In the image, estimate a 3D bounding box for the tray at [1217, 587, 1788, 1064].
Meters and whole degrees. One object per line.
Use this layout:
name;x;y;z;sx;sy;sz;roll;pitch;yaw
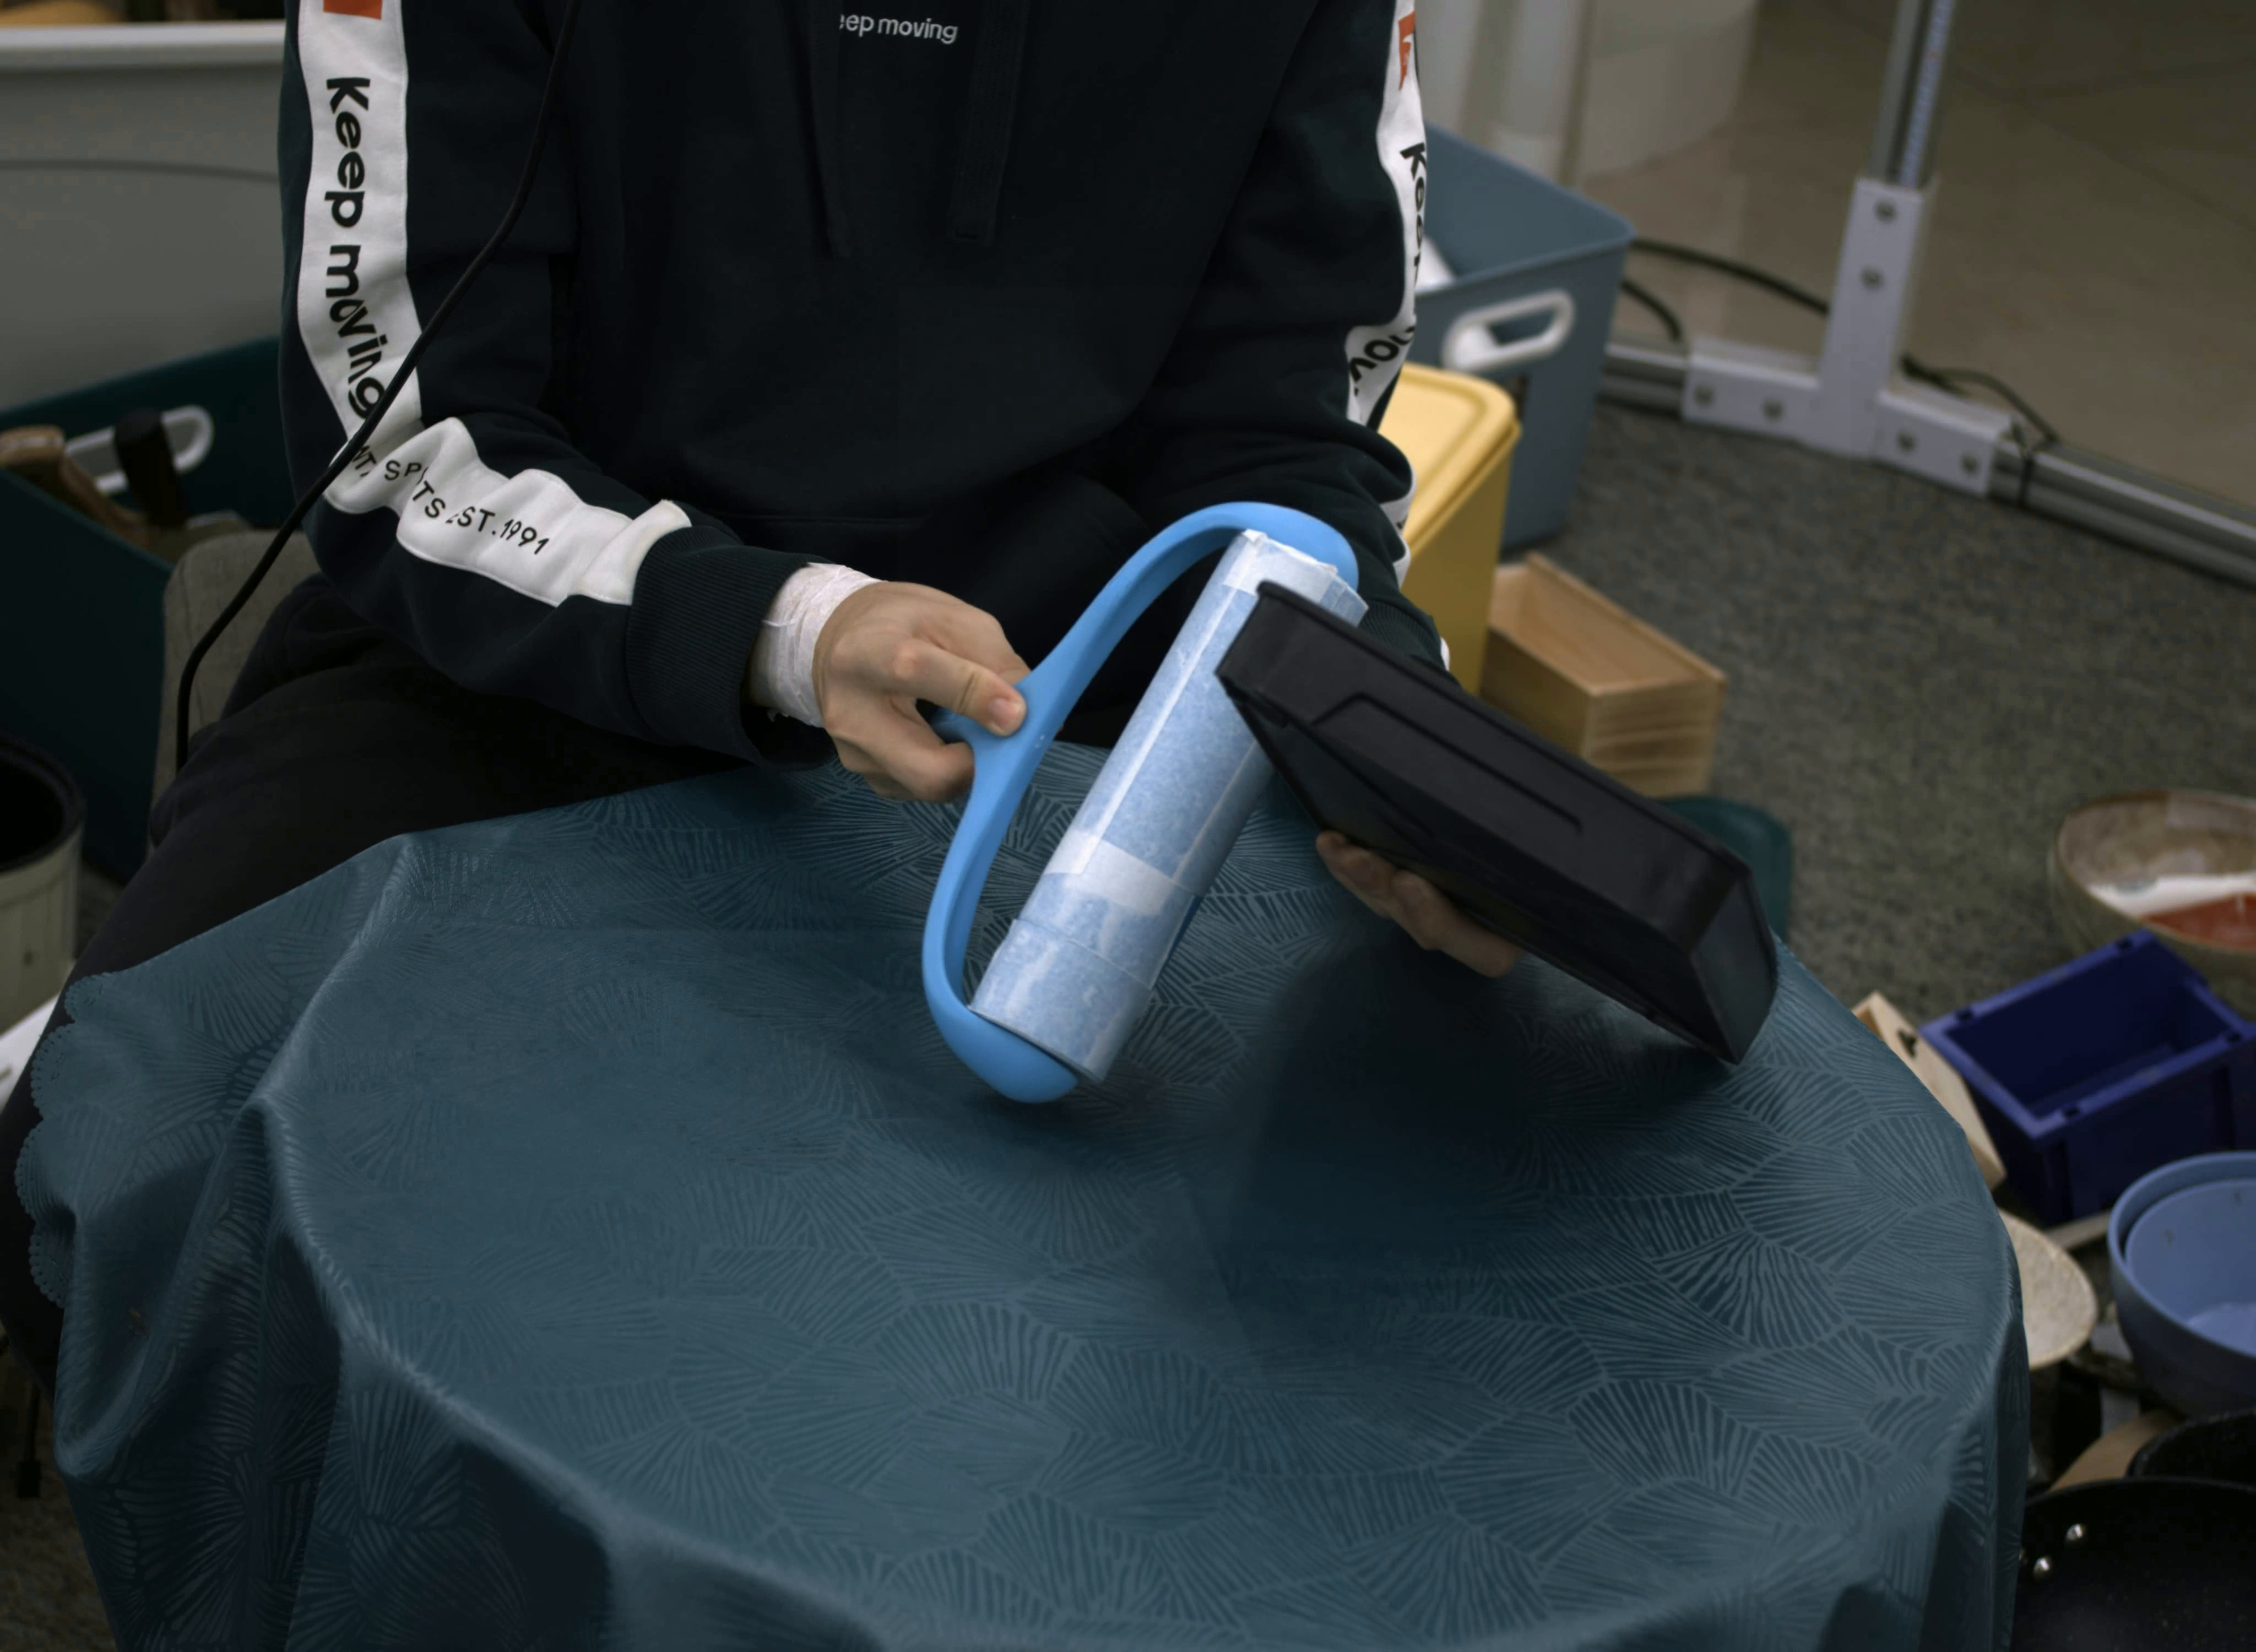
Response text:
tray;0.131;0.006;1.801;0.185;0.037;0.316;30;-3;13

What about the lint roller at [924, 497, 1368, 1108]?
lint roller;-0.026;-0.020;1.879;0.181;0.229;0.067;17;-13;45
